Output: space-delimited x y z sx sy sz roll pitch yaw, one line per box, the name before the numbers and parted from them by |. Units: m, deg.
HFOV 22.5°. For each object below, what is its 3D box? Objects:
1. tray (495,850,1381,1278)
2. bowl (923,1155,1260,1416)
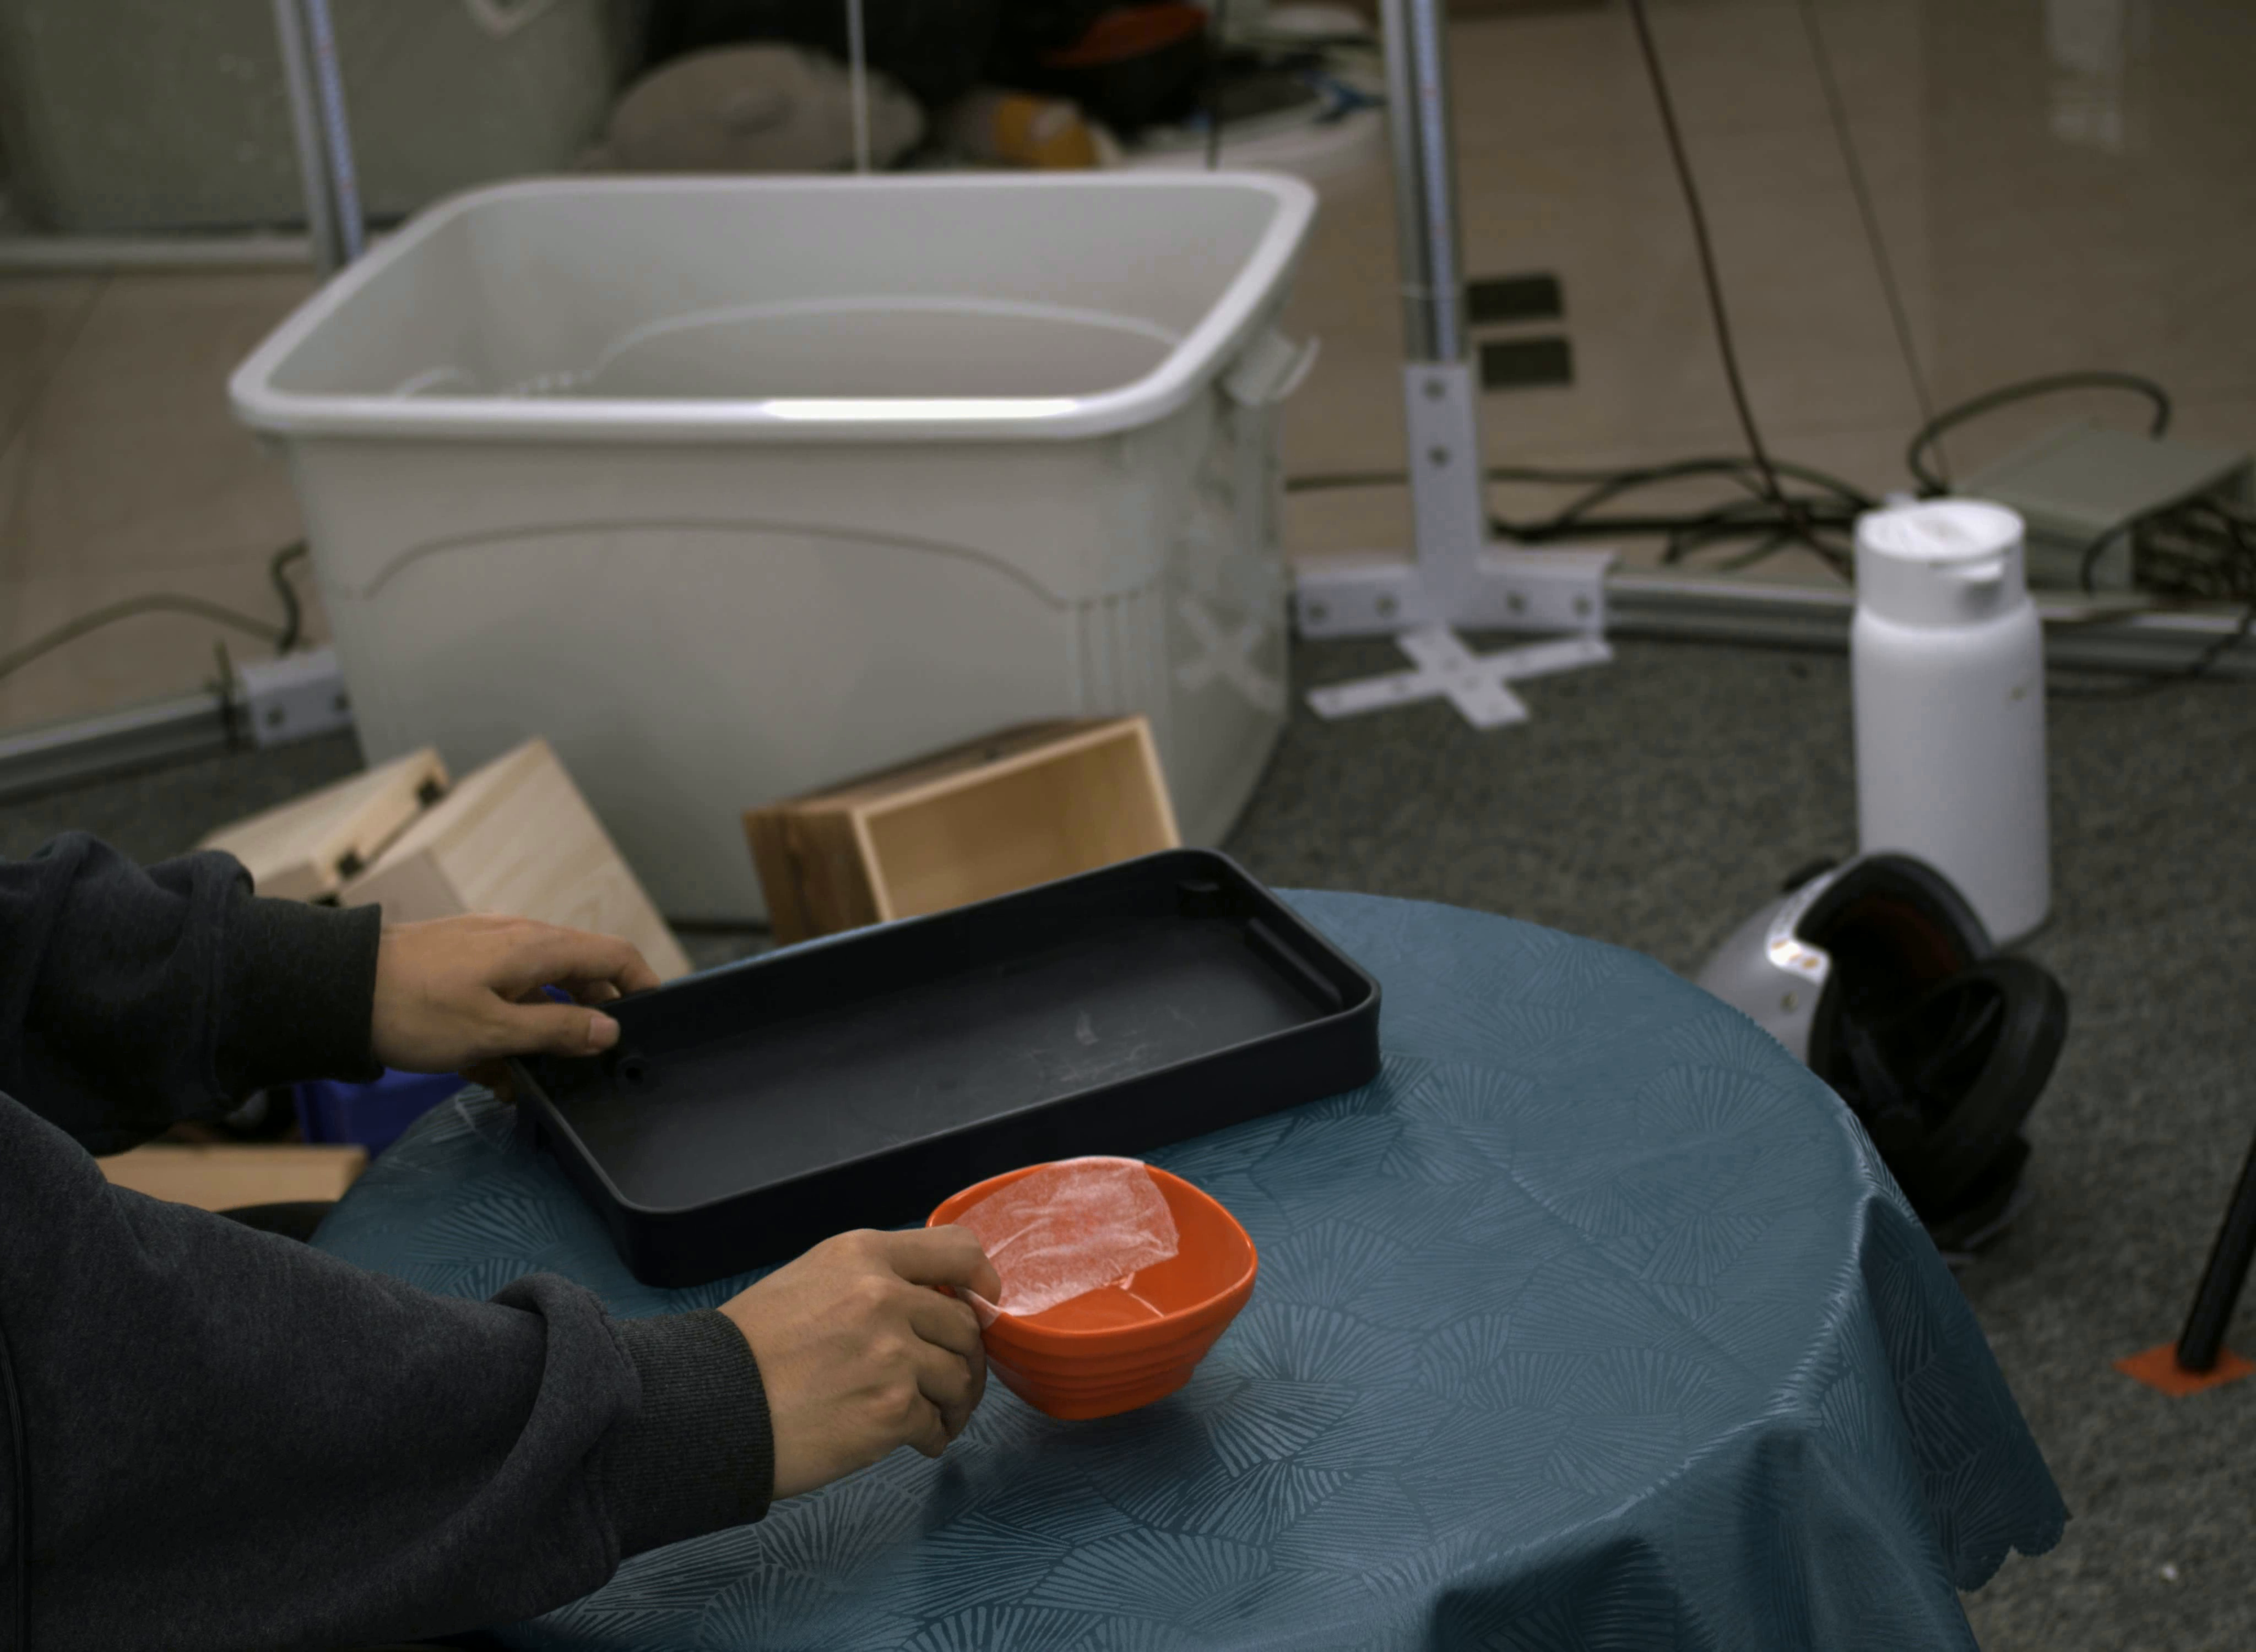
tray | -0.074 0.089 2.223 0.317 0.037 0.182 -14 26 -19
bowl | -0.014 0.166 1.993 0.119 0.052 0.117 4 28 -2
